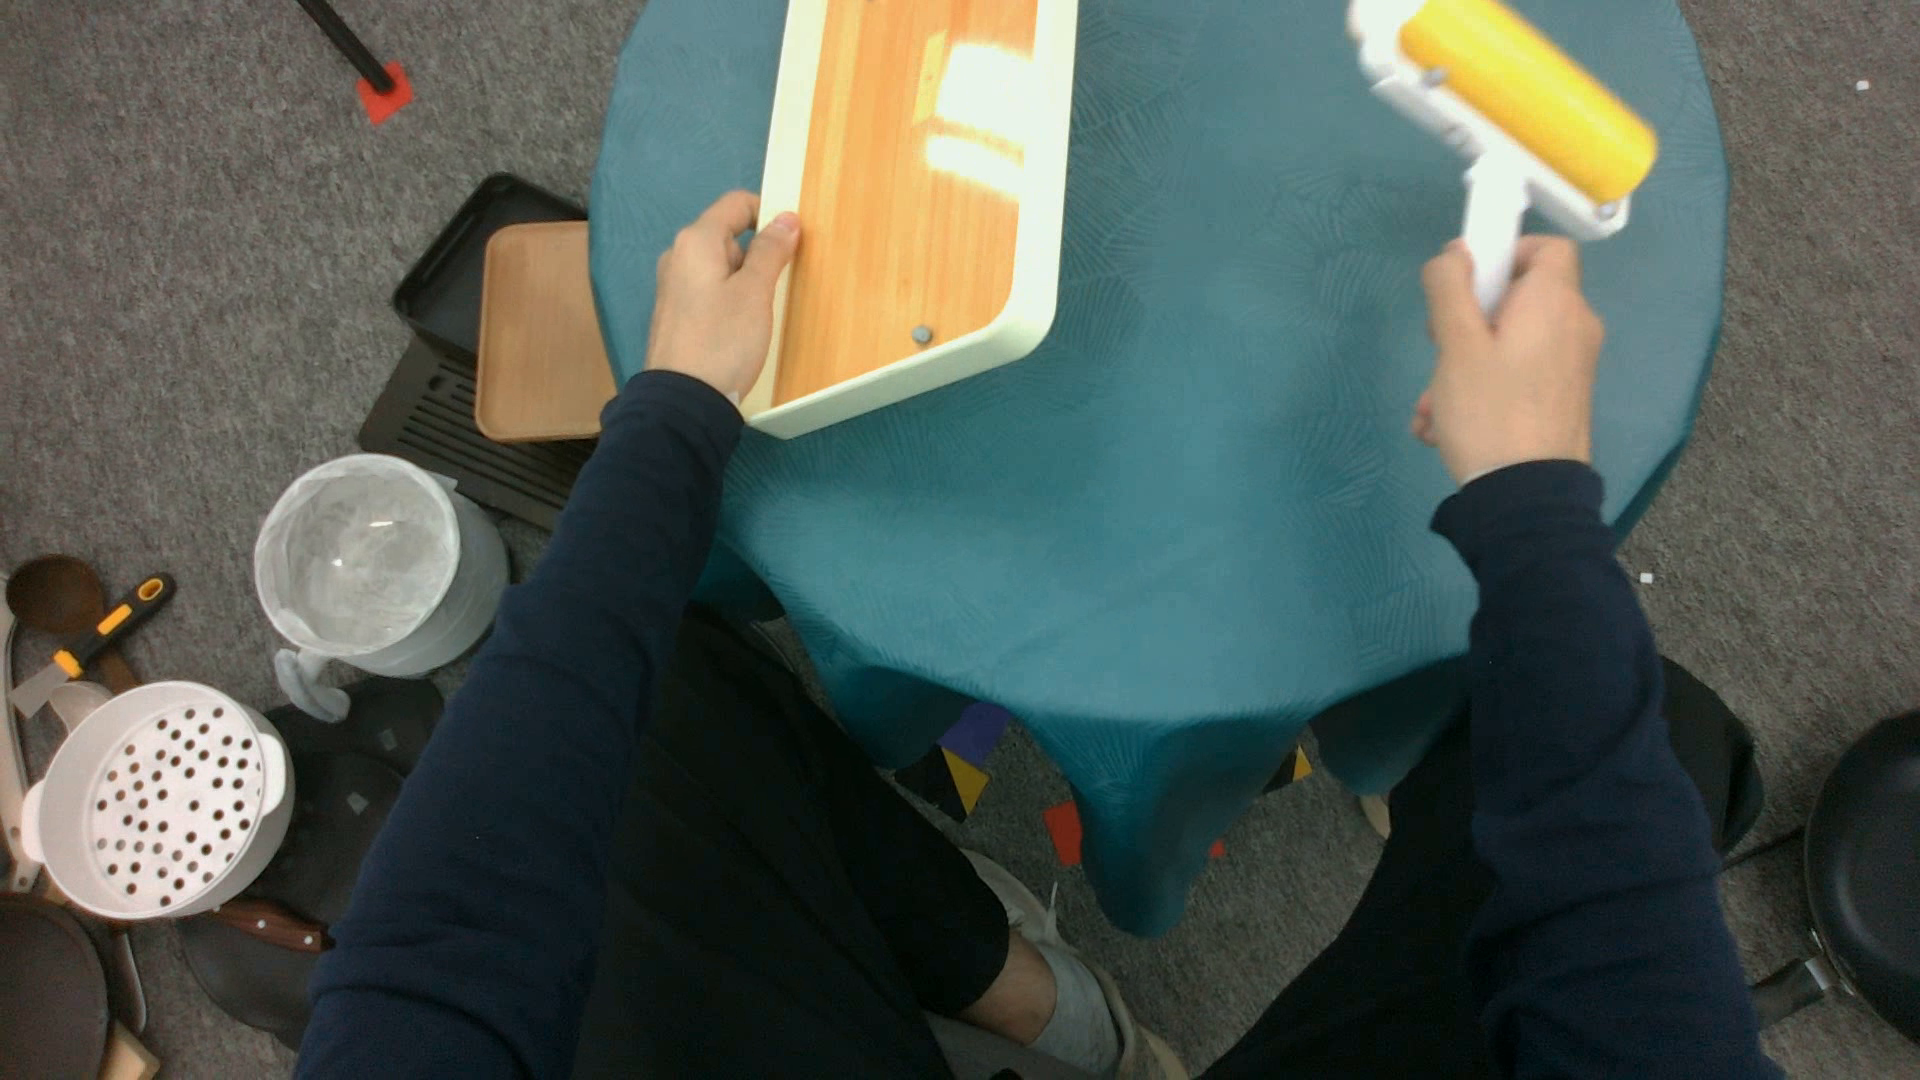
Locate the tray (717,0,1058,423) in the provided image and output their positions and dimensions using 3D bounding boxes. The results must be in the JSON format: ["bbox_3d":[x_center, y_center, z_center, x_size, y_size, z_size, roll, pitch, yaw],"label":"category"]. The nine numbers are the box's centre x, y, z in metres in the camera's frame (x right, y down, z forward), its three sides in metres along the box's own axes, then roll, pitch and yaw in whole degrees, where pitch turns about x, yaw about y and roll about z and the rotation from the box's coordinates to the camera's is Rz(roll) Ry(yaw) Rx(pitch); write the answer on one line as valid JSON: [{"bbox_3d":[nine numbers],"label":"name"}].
[{"bbox_3d":[-0.032,-0.214,0.662,0.191,0.027,0.301,-14,63,42],"label":"tray"}]

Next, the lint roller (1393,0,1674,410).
[{"bbox_3d":[0.237,-0.149,0.577,0.174,0.051,0.192,18,72,-36],"label":"lint roller"}]
